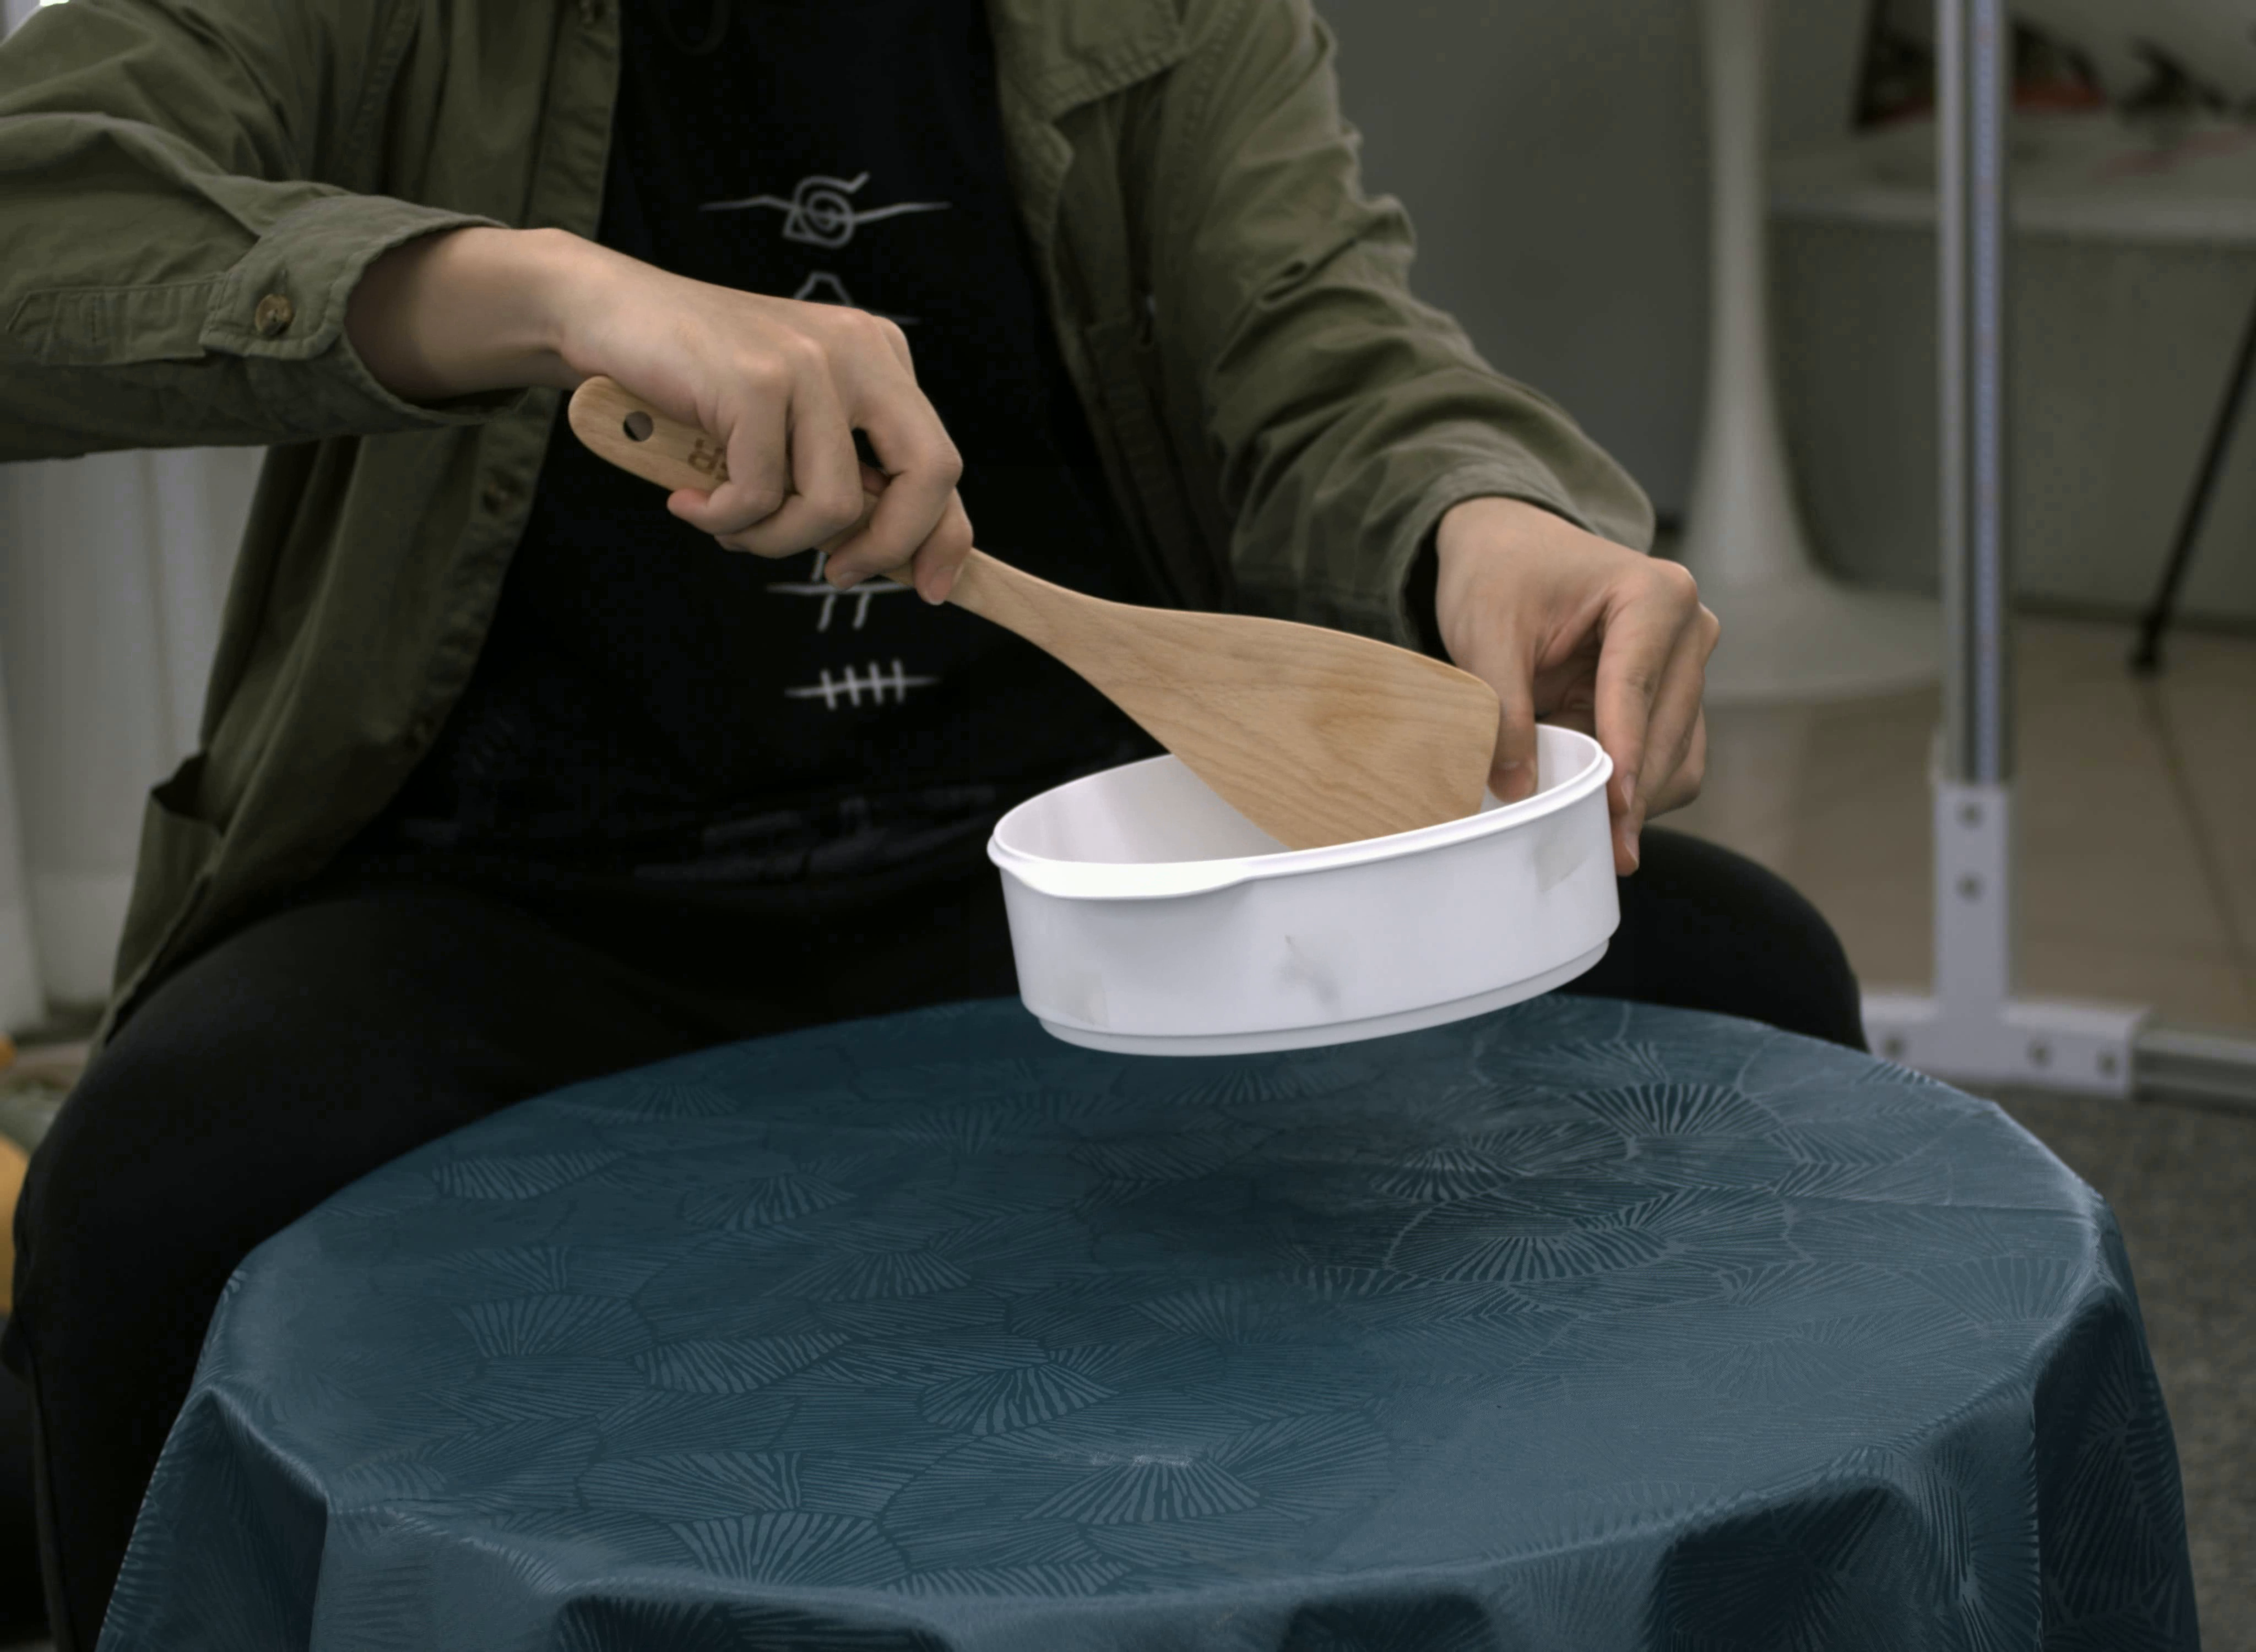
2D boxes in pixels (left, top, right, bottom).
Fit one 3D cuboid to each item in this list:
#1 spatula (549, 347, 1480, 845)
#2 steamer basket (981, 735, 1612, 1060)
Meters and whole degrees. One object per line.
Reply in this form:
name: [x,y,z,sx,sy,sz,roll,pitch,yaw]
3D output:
spatula: [-0.035,-0.078,1.735,0.324,0.081,0.016,24,8,-6]
steamer basket: [0.055,0.023,1.703,0.203,0.070,0.227,-1,11,34]
